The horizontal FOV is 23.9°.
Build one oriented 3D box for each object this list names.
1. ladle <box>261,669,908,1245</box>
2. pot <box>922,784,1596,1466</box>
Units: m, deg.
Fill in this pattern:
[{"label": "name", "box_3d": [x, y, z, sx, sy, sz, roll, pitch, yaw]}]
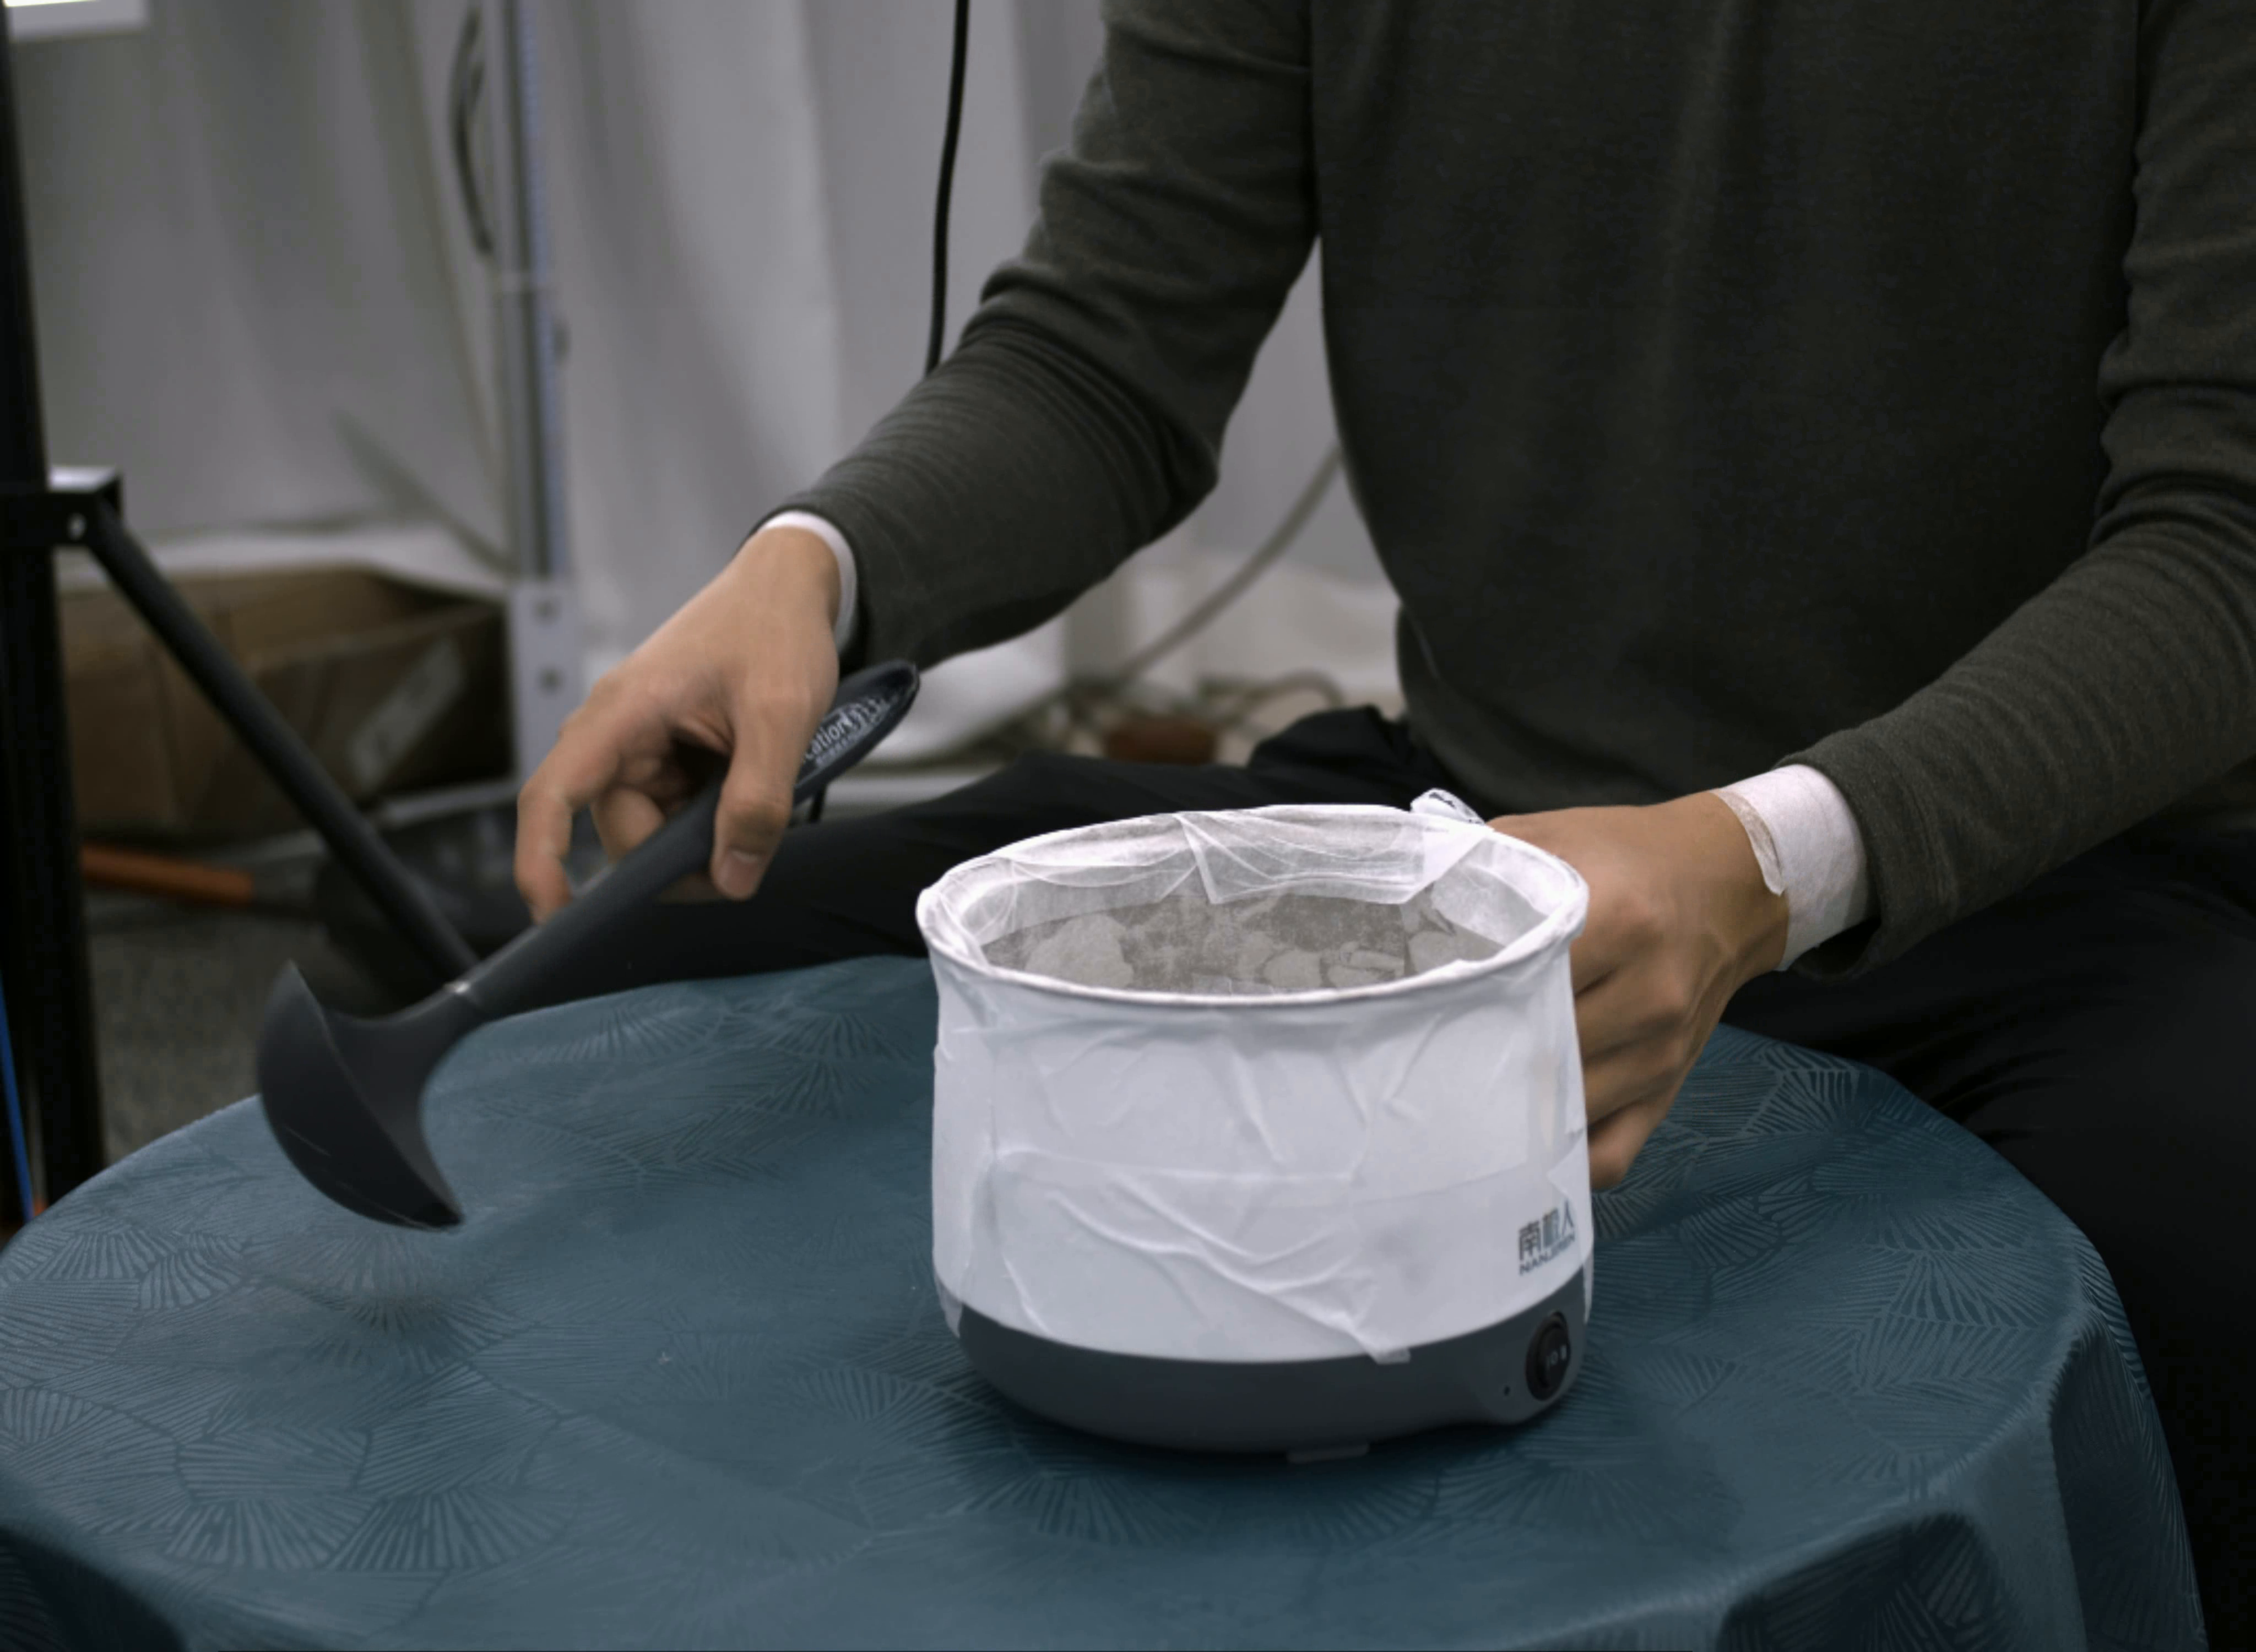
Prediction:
[{"label": "ladle", "box_3d": [-0.142, 0.021, 1.567, 0.065, 0.086, 0.309, -19, 15, 44]}, {"label": "pot", "box_3d": [0.050, 0.072, 1.426, 0.182, 0.136, 0.229, 8, 19, 32]}]
